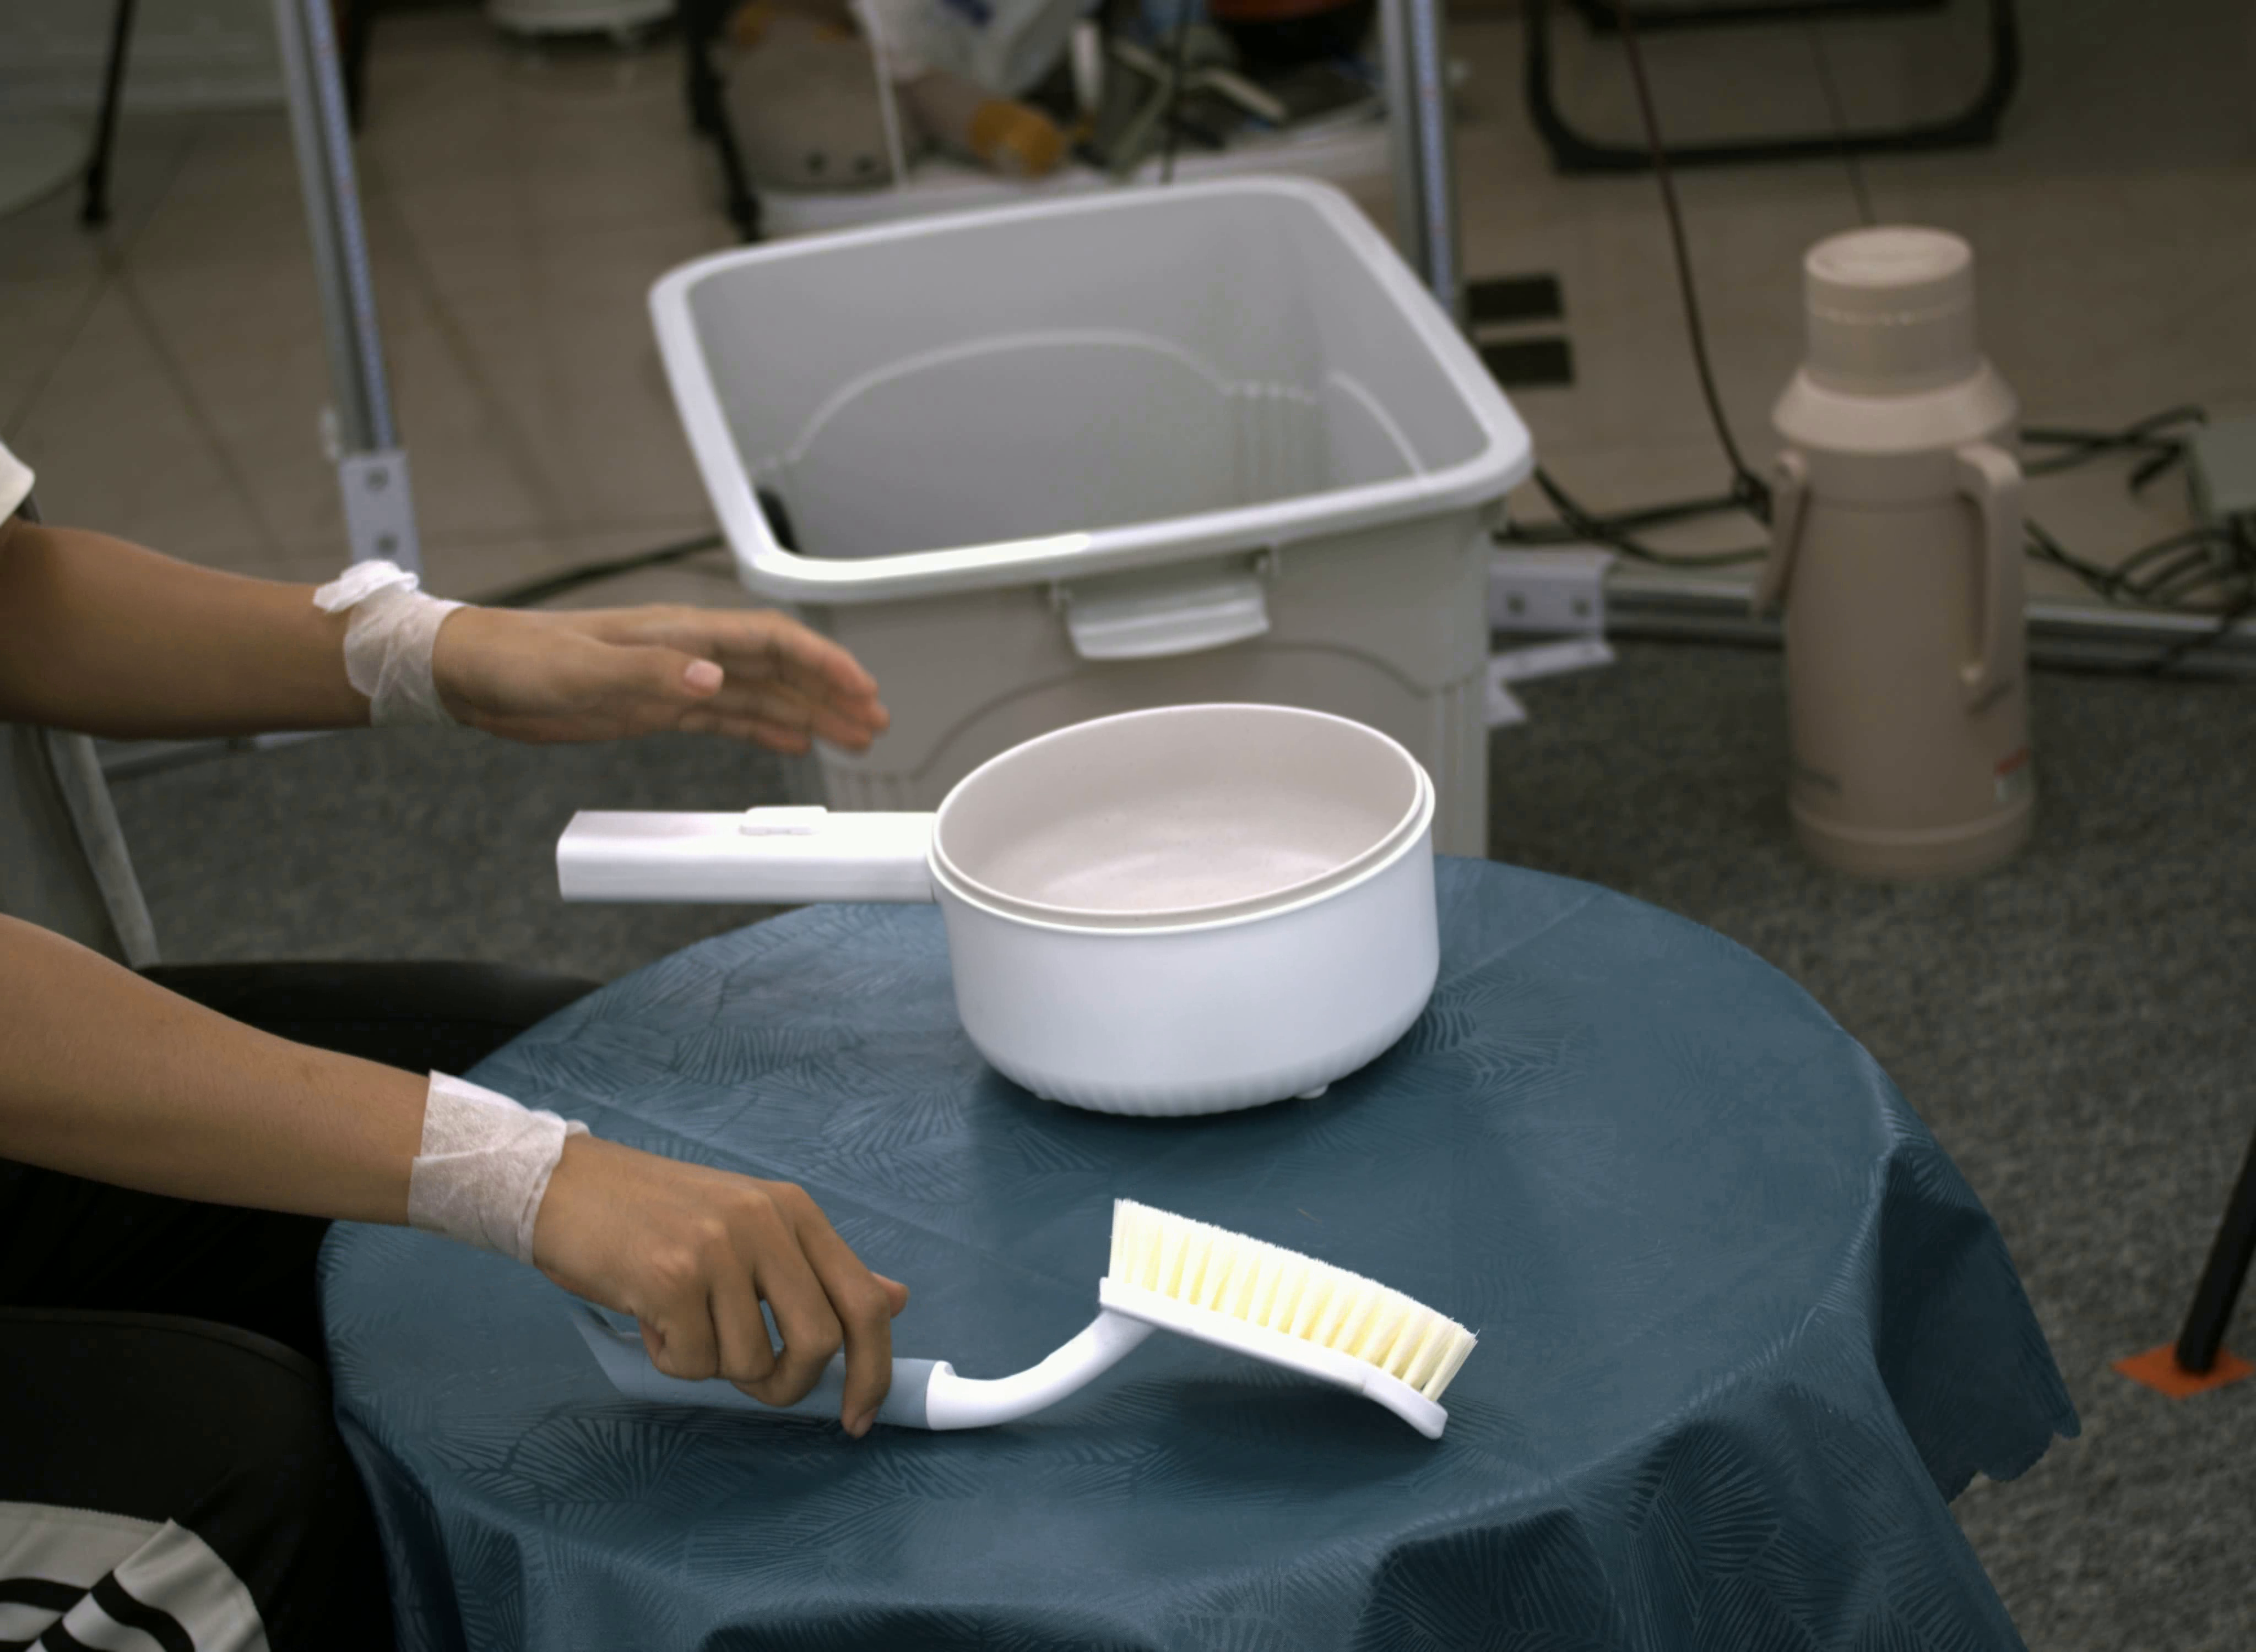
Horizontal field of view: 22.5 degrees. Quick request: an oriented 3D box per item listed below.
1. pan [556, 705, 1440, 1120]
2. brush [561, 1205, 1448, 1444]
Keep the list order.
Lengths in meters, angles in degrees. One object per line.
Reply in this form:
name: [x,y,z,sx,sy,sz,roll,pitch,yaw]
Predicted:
pan: [-0.050,0.039,2.260,0.354,0.104,0.198,-1,26,13]
brush: [-0.046,0.164,2.003,0.324,0.085,0.083,4,42,16]
